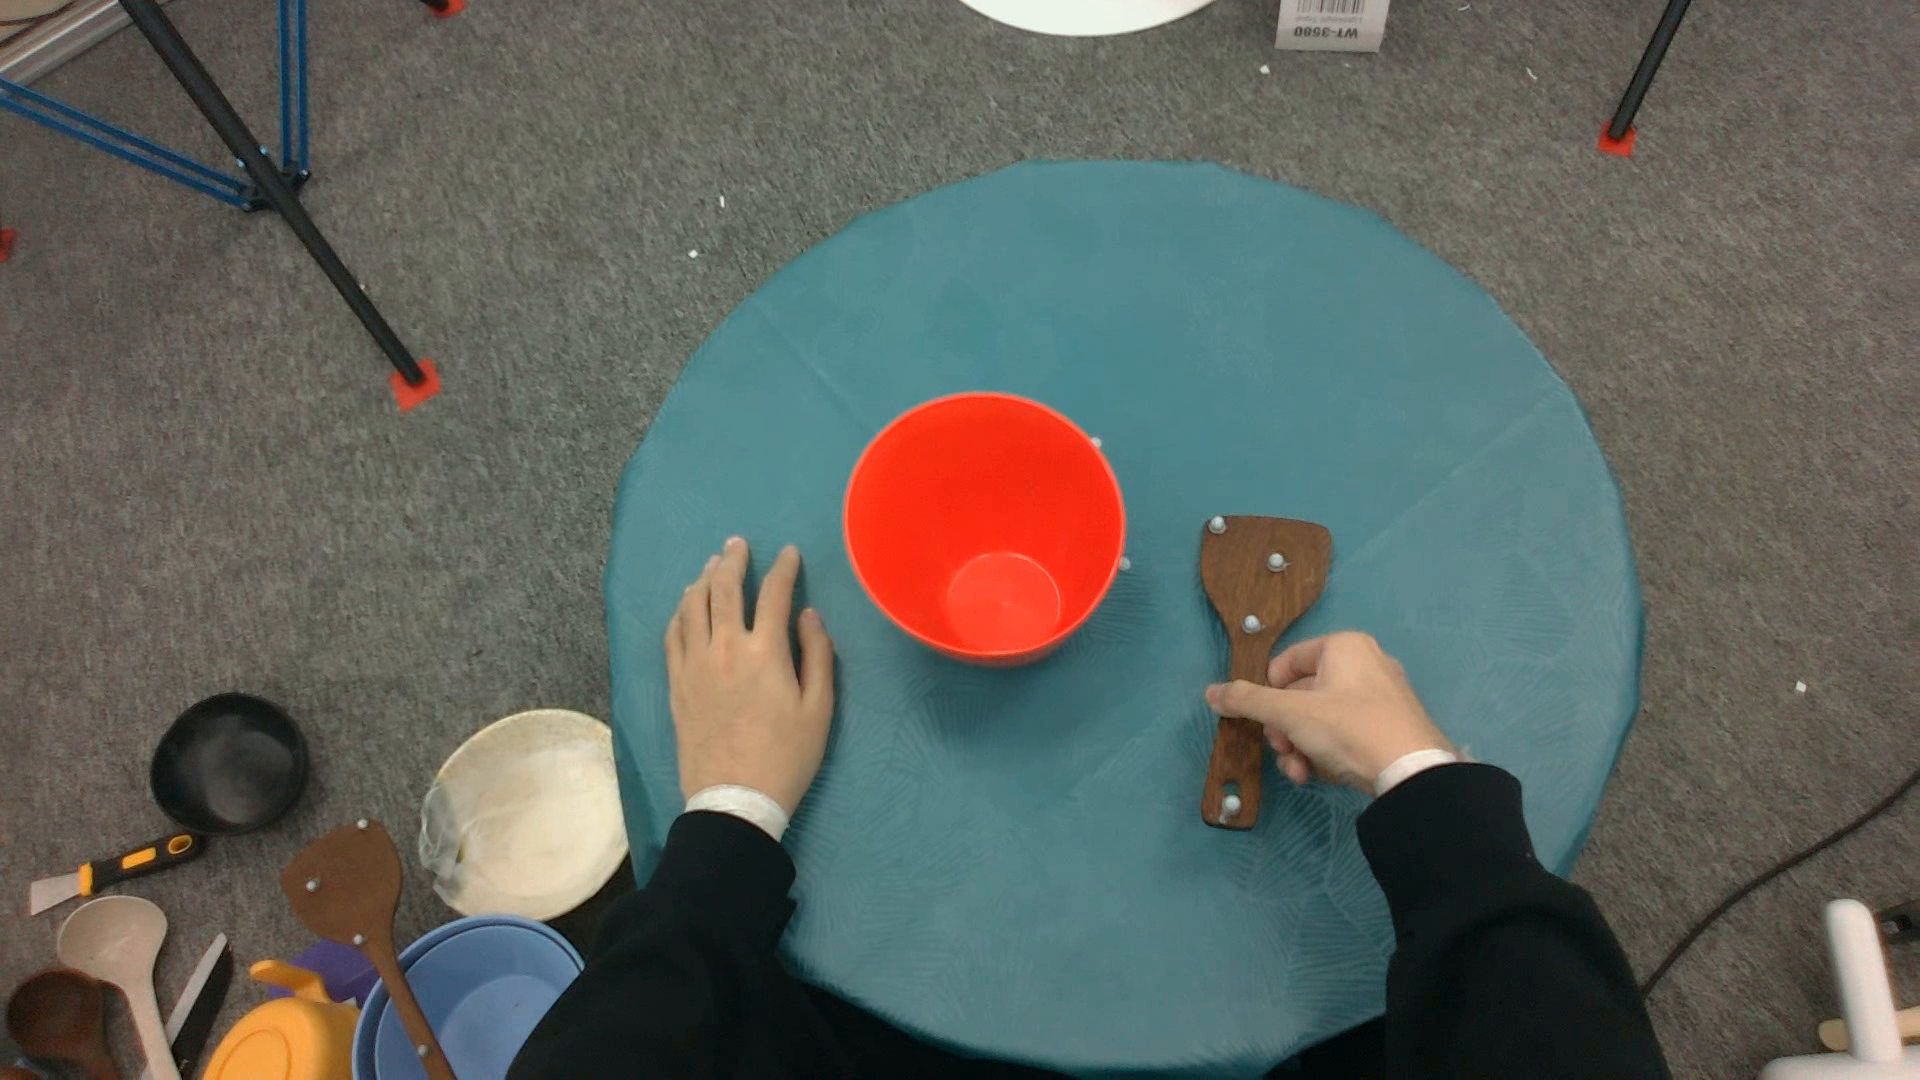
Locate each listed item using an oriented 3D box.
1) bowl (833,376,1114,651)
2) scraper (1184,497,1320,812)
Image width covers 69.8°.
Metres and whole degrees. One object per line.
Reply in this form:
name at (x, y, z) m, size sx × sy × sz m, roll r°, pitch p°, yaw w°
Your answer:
bowl at (0.009, -0.002, 0.757) m, size 0.148 × 0.104 × 0.148 m, roll -1°, pitch 63°, yaw 2°
scraper at (0.150, 0.055, 0.743) m, size 0.076 × 0.011 × 0.212 m, roll 6°, pitch 48°, yaw 13°
